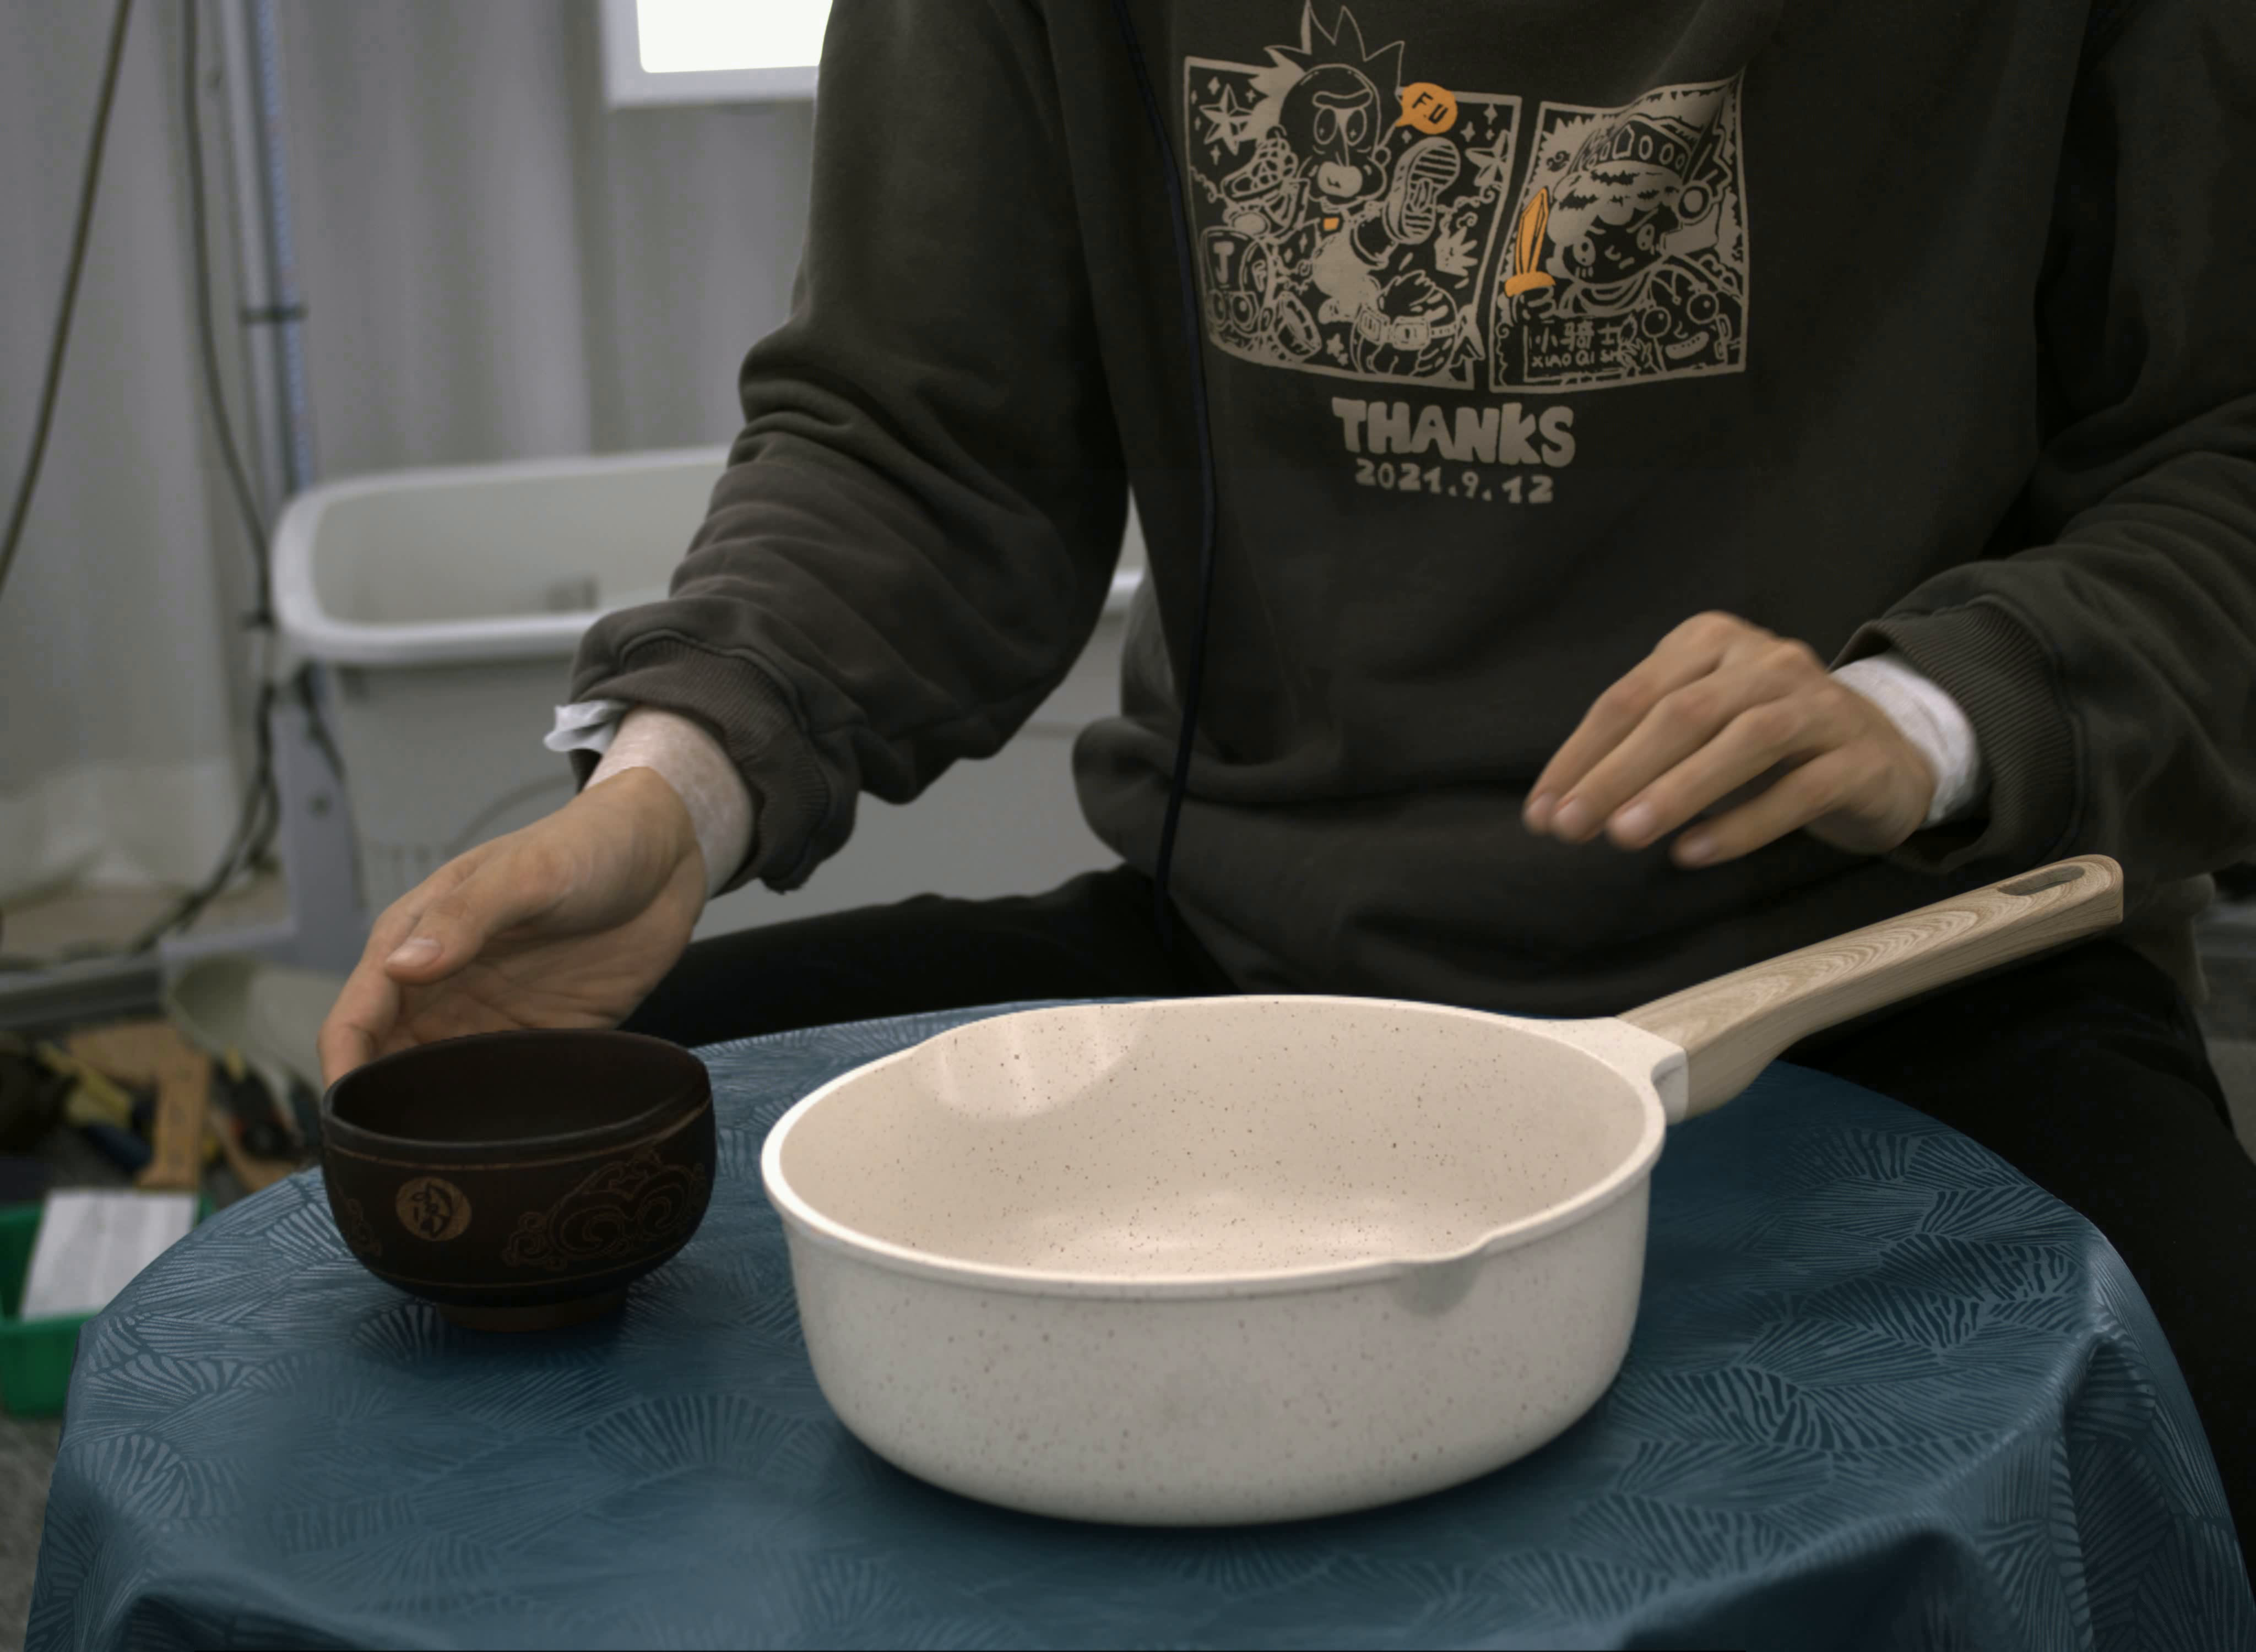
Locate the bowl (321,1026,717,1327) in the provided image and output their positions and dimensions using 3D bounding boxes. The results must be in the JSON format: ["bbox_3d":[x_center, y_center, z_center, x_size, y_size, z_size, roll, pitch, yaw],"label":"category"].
[{"bbox_3d":[-0.181,0.109,1.642,0.117,0.069,0.119,-3,13,0],"label":"bowl"}]

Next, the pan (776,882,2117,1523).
[{"bbox_3d":[0.109,0.101,1.563,0.433,0.101,0.265,-10,15,-27],"label":"pan"}]
